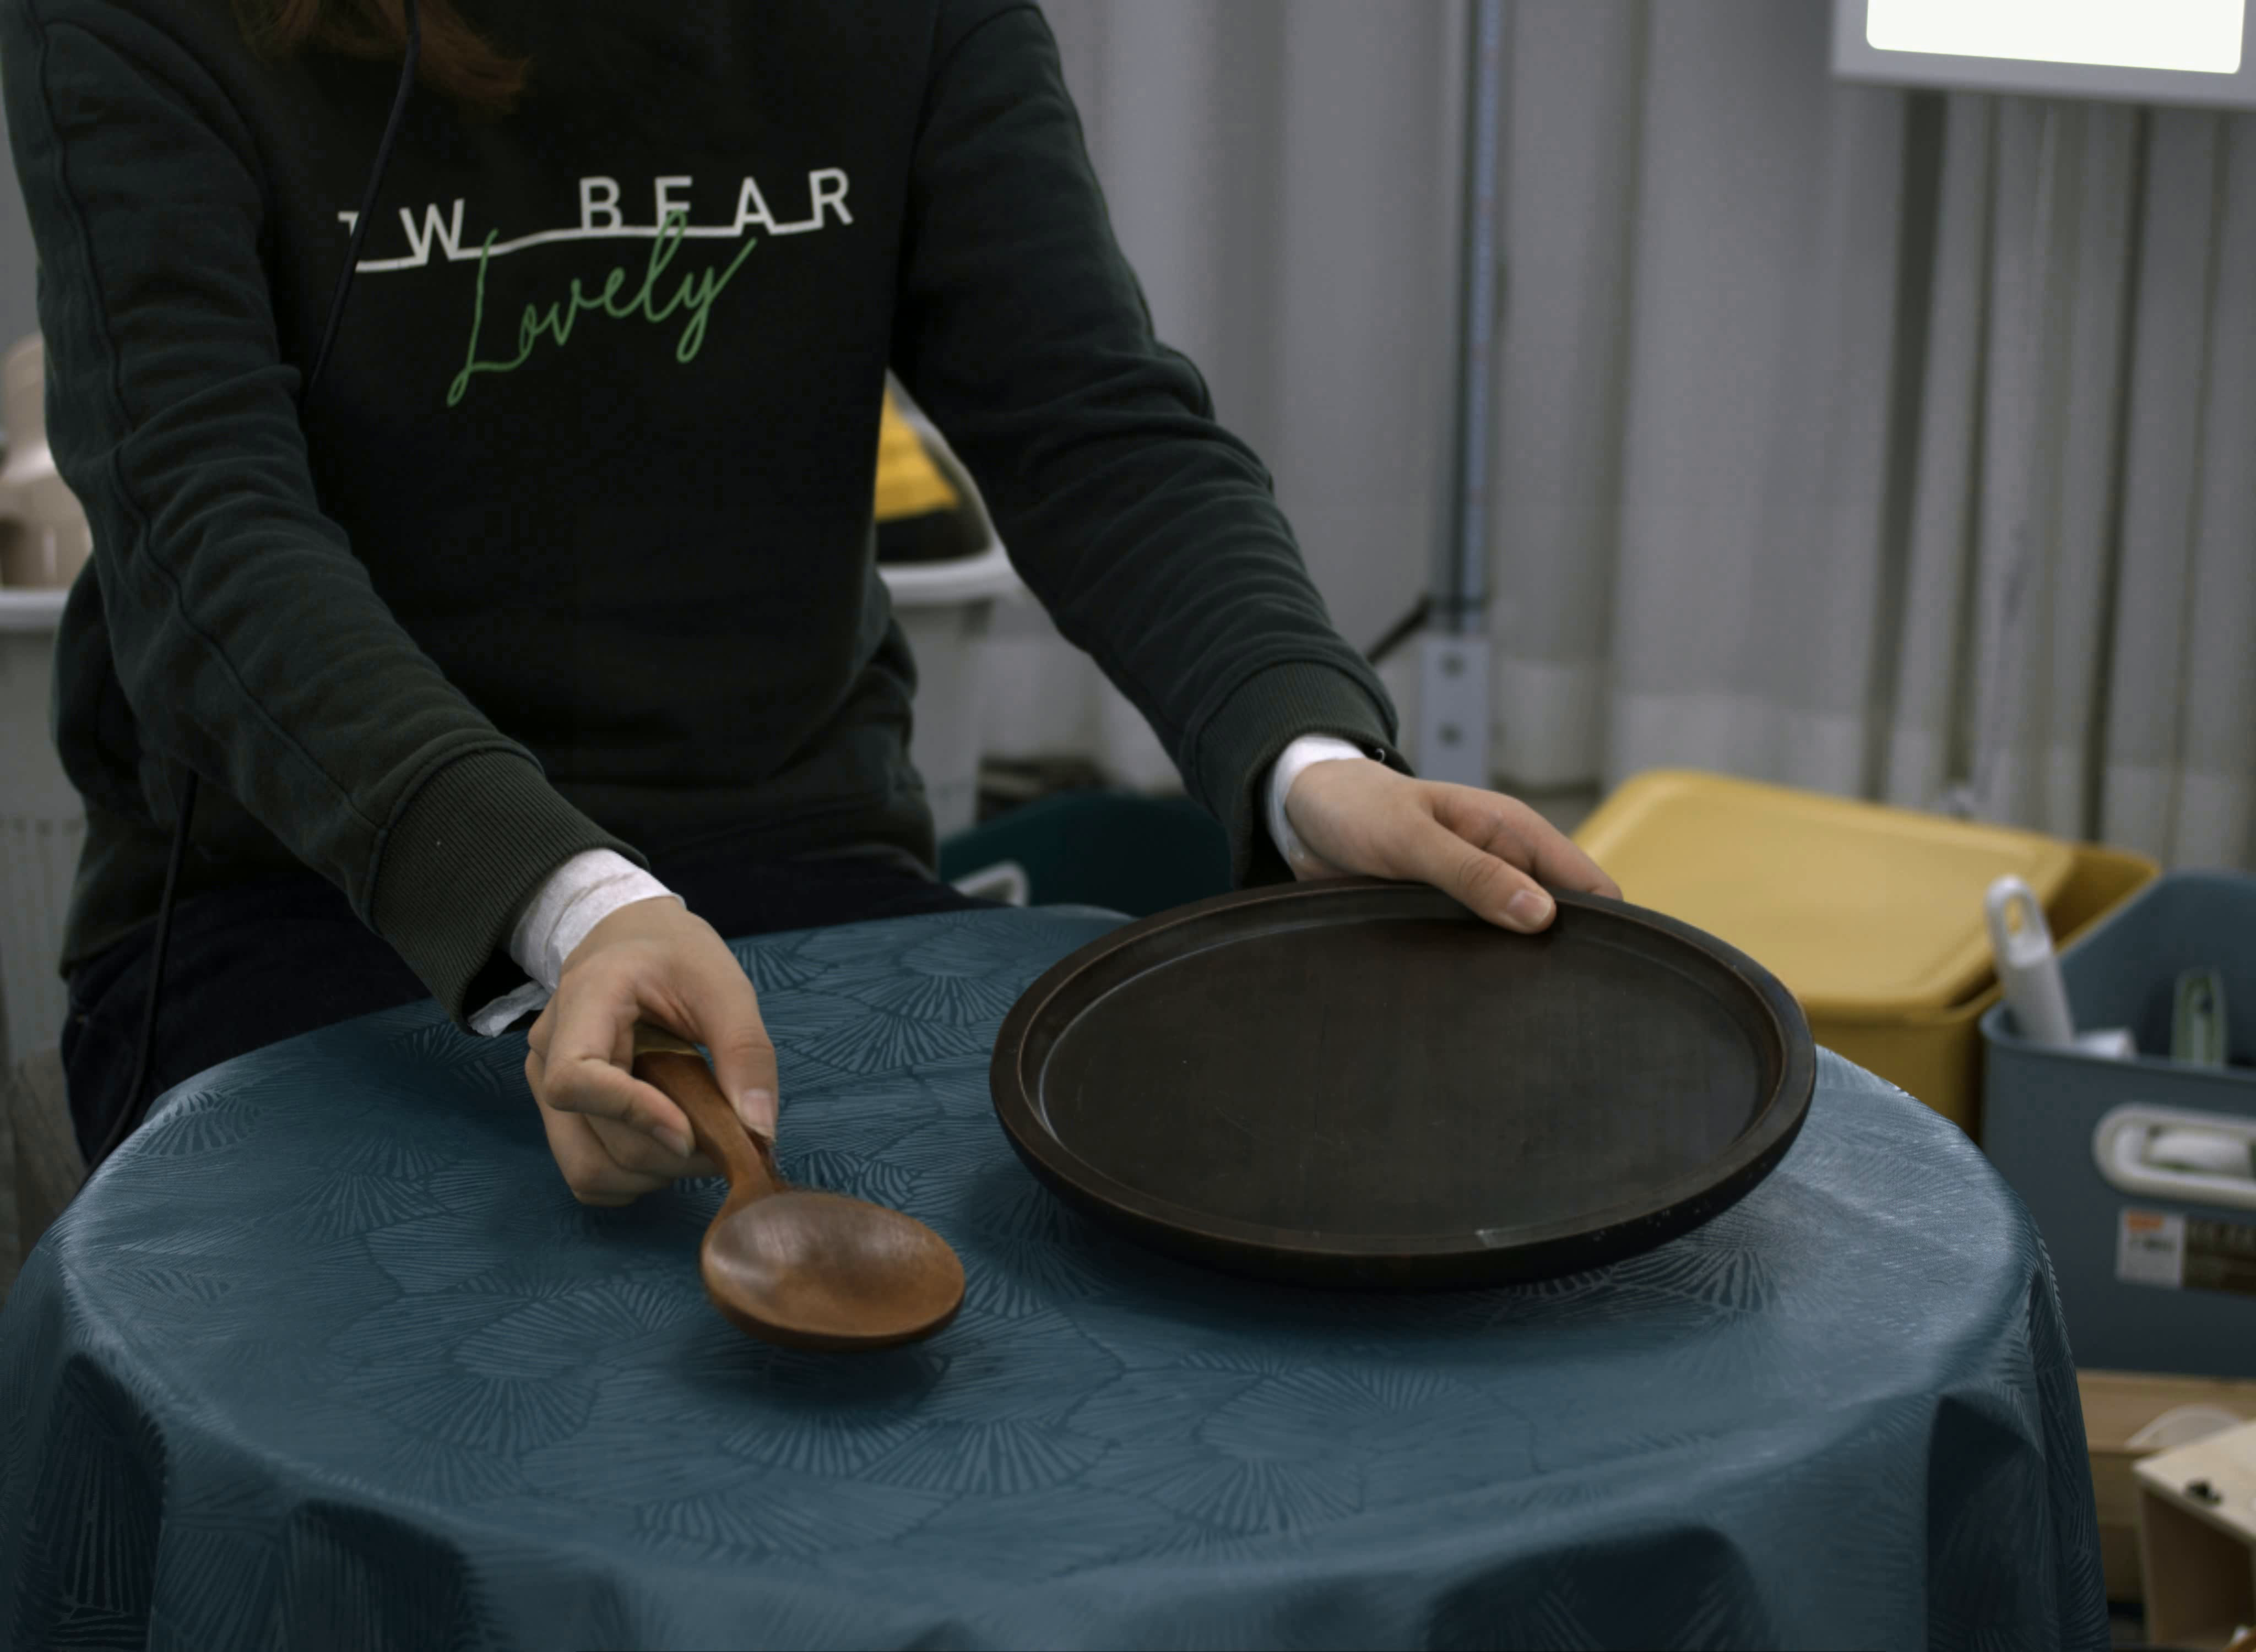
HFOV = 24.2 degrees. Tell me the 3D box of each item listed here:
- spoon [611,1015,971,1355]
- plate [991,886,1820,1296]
[{"bbox_3d":[-0.108,0.105,1.535,0.076,0.017,0.213,-7,26,-22],"label":"spoon"},{"bbox_3d":[0.084,0.078,1.610,0.254,0.029,0.253,0,26,0],"label":"plate"}]
